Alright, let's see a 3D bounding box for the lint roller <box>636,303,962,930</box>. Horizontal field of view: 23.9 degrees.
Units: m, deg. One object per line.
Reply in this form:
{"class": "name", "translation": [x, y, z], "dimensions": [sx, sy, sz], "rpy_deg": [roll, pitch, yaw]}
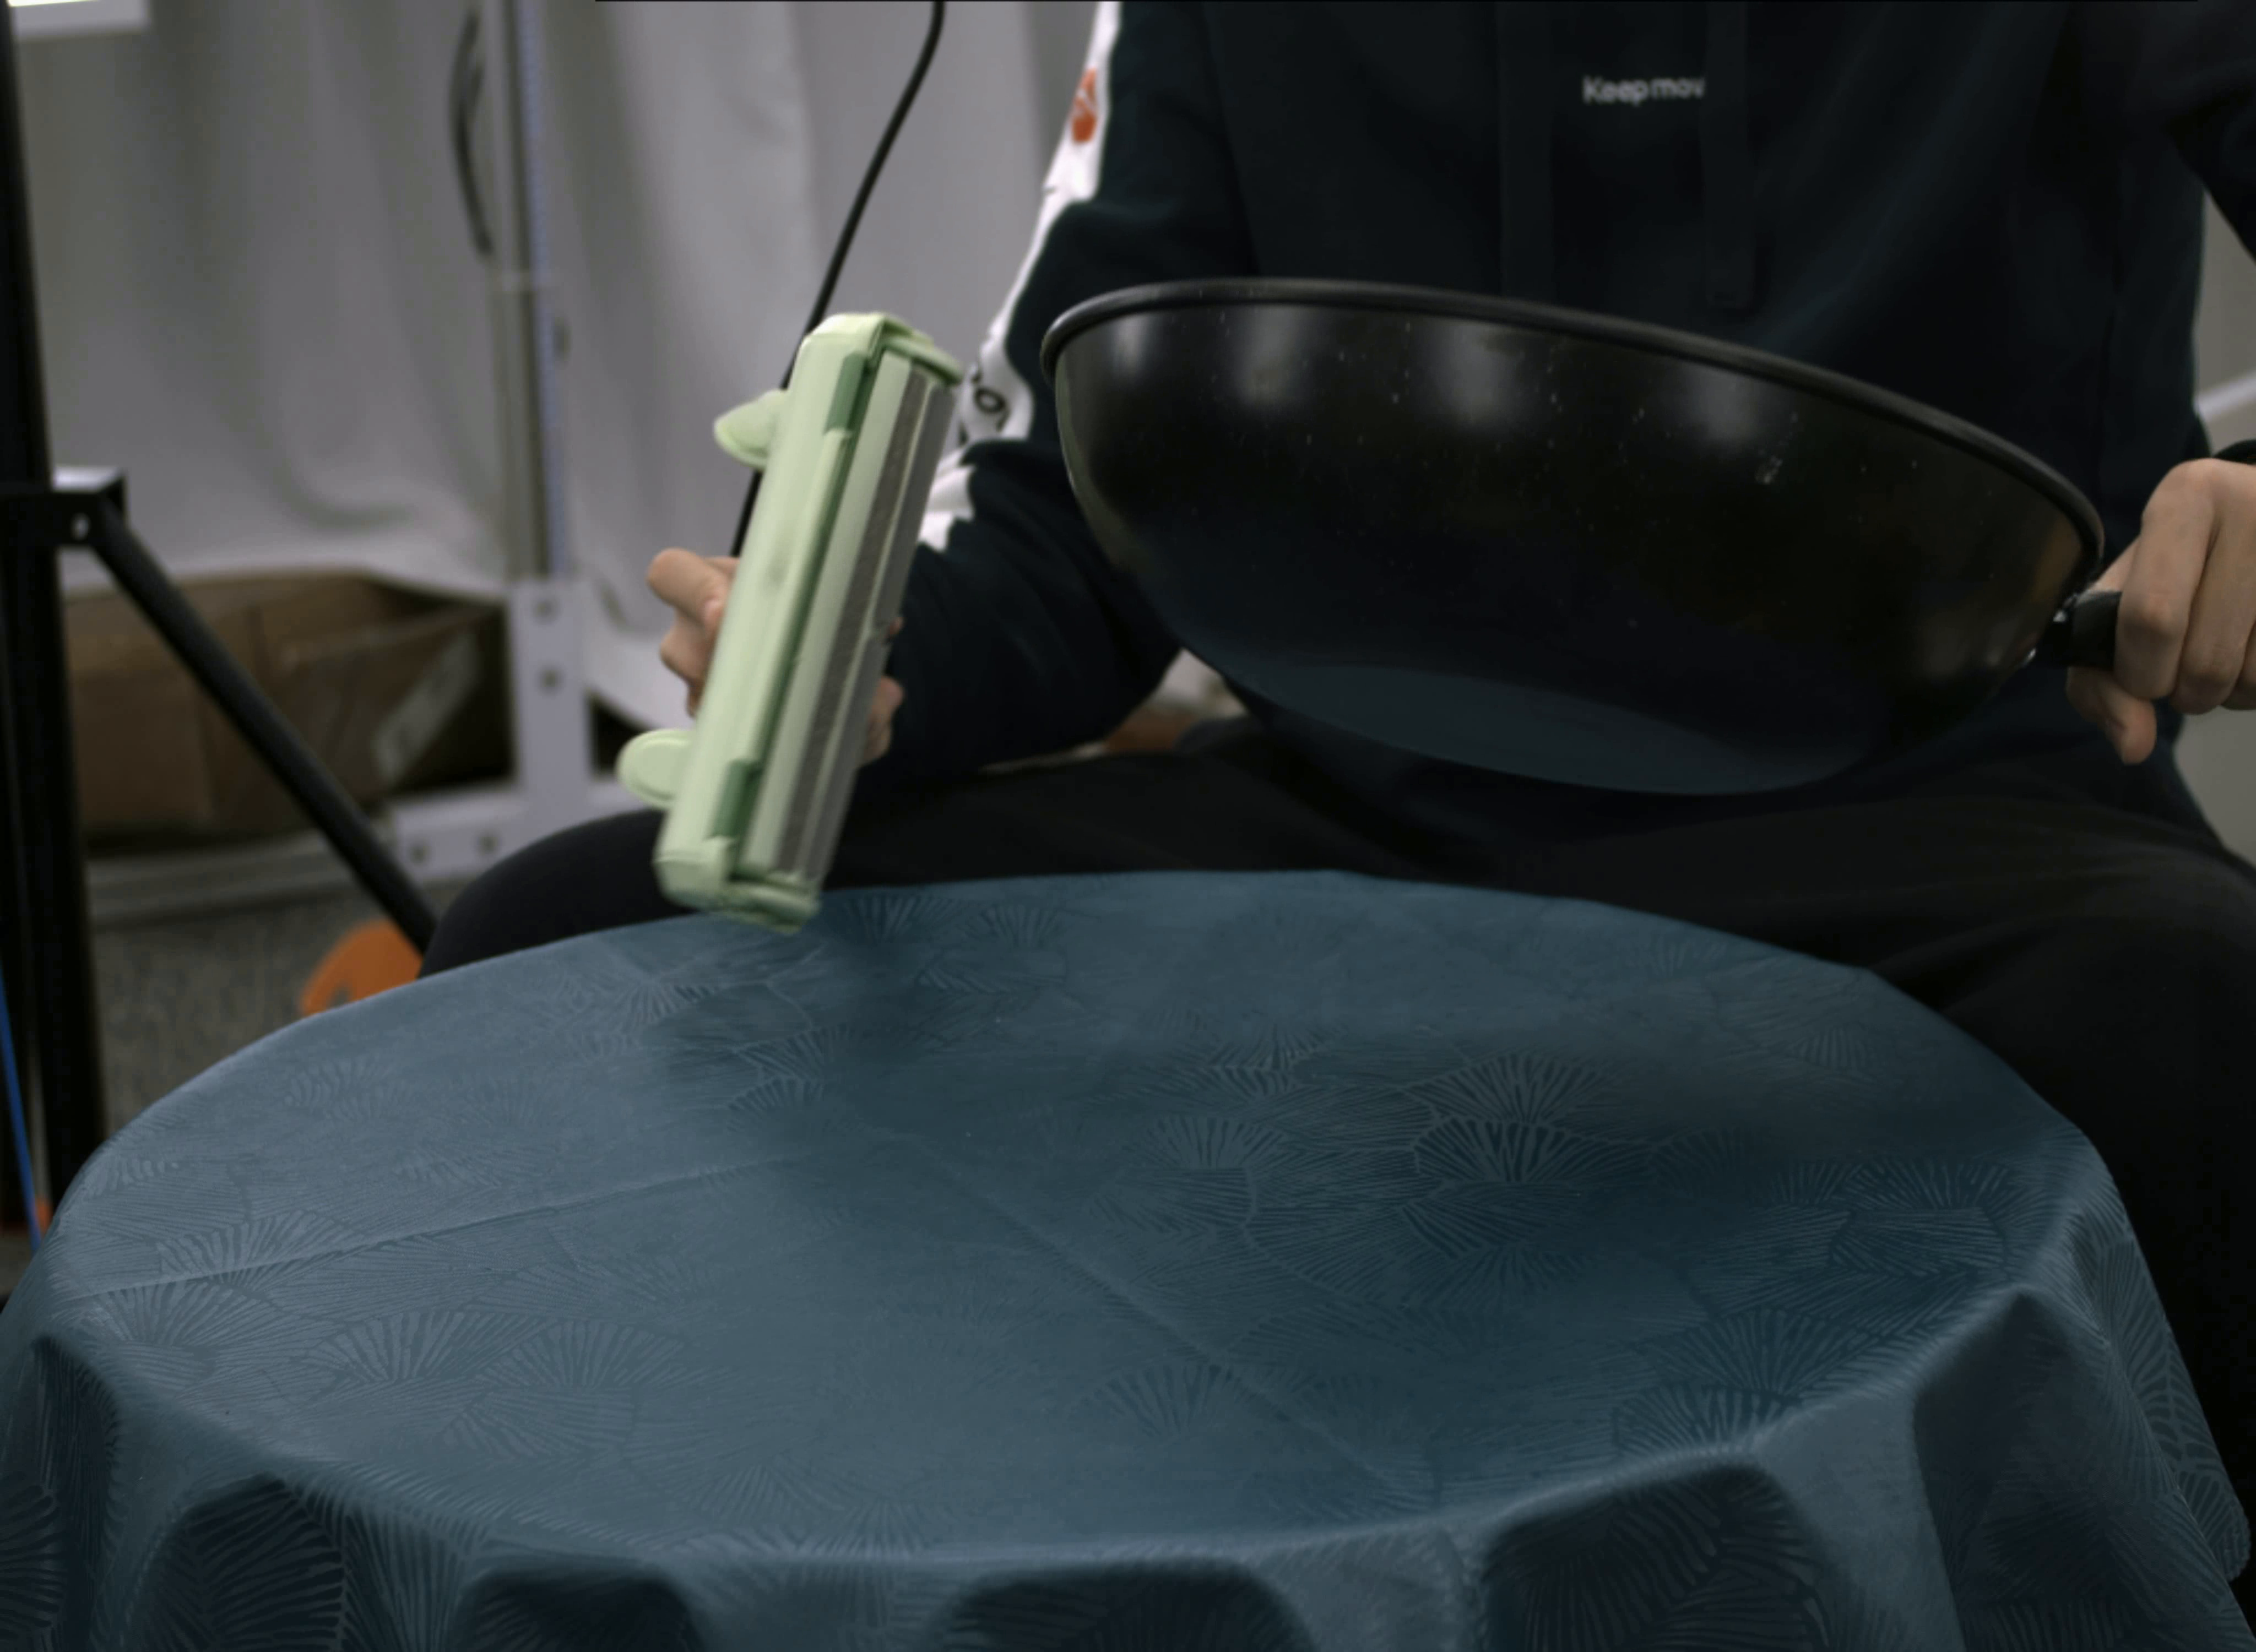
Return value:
{"class": "lint roller", "translation": [-0.113, -0.061, 1.765], "dimensions": [0.081, 0.199, 0.184], "rpy_deg": [14, -11, -7]}

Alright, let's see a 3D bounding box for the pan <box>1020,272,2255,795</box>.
{"class": "pan", "translation": [0.190, -0.060, 1.536], "dimensions": [0.468, 0.112, 0.314], "rpy_deg": [15, -8, -18]}
